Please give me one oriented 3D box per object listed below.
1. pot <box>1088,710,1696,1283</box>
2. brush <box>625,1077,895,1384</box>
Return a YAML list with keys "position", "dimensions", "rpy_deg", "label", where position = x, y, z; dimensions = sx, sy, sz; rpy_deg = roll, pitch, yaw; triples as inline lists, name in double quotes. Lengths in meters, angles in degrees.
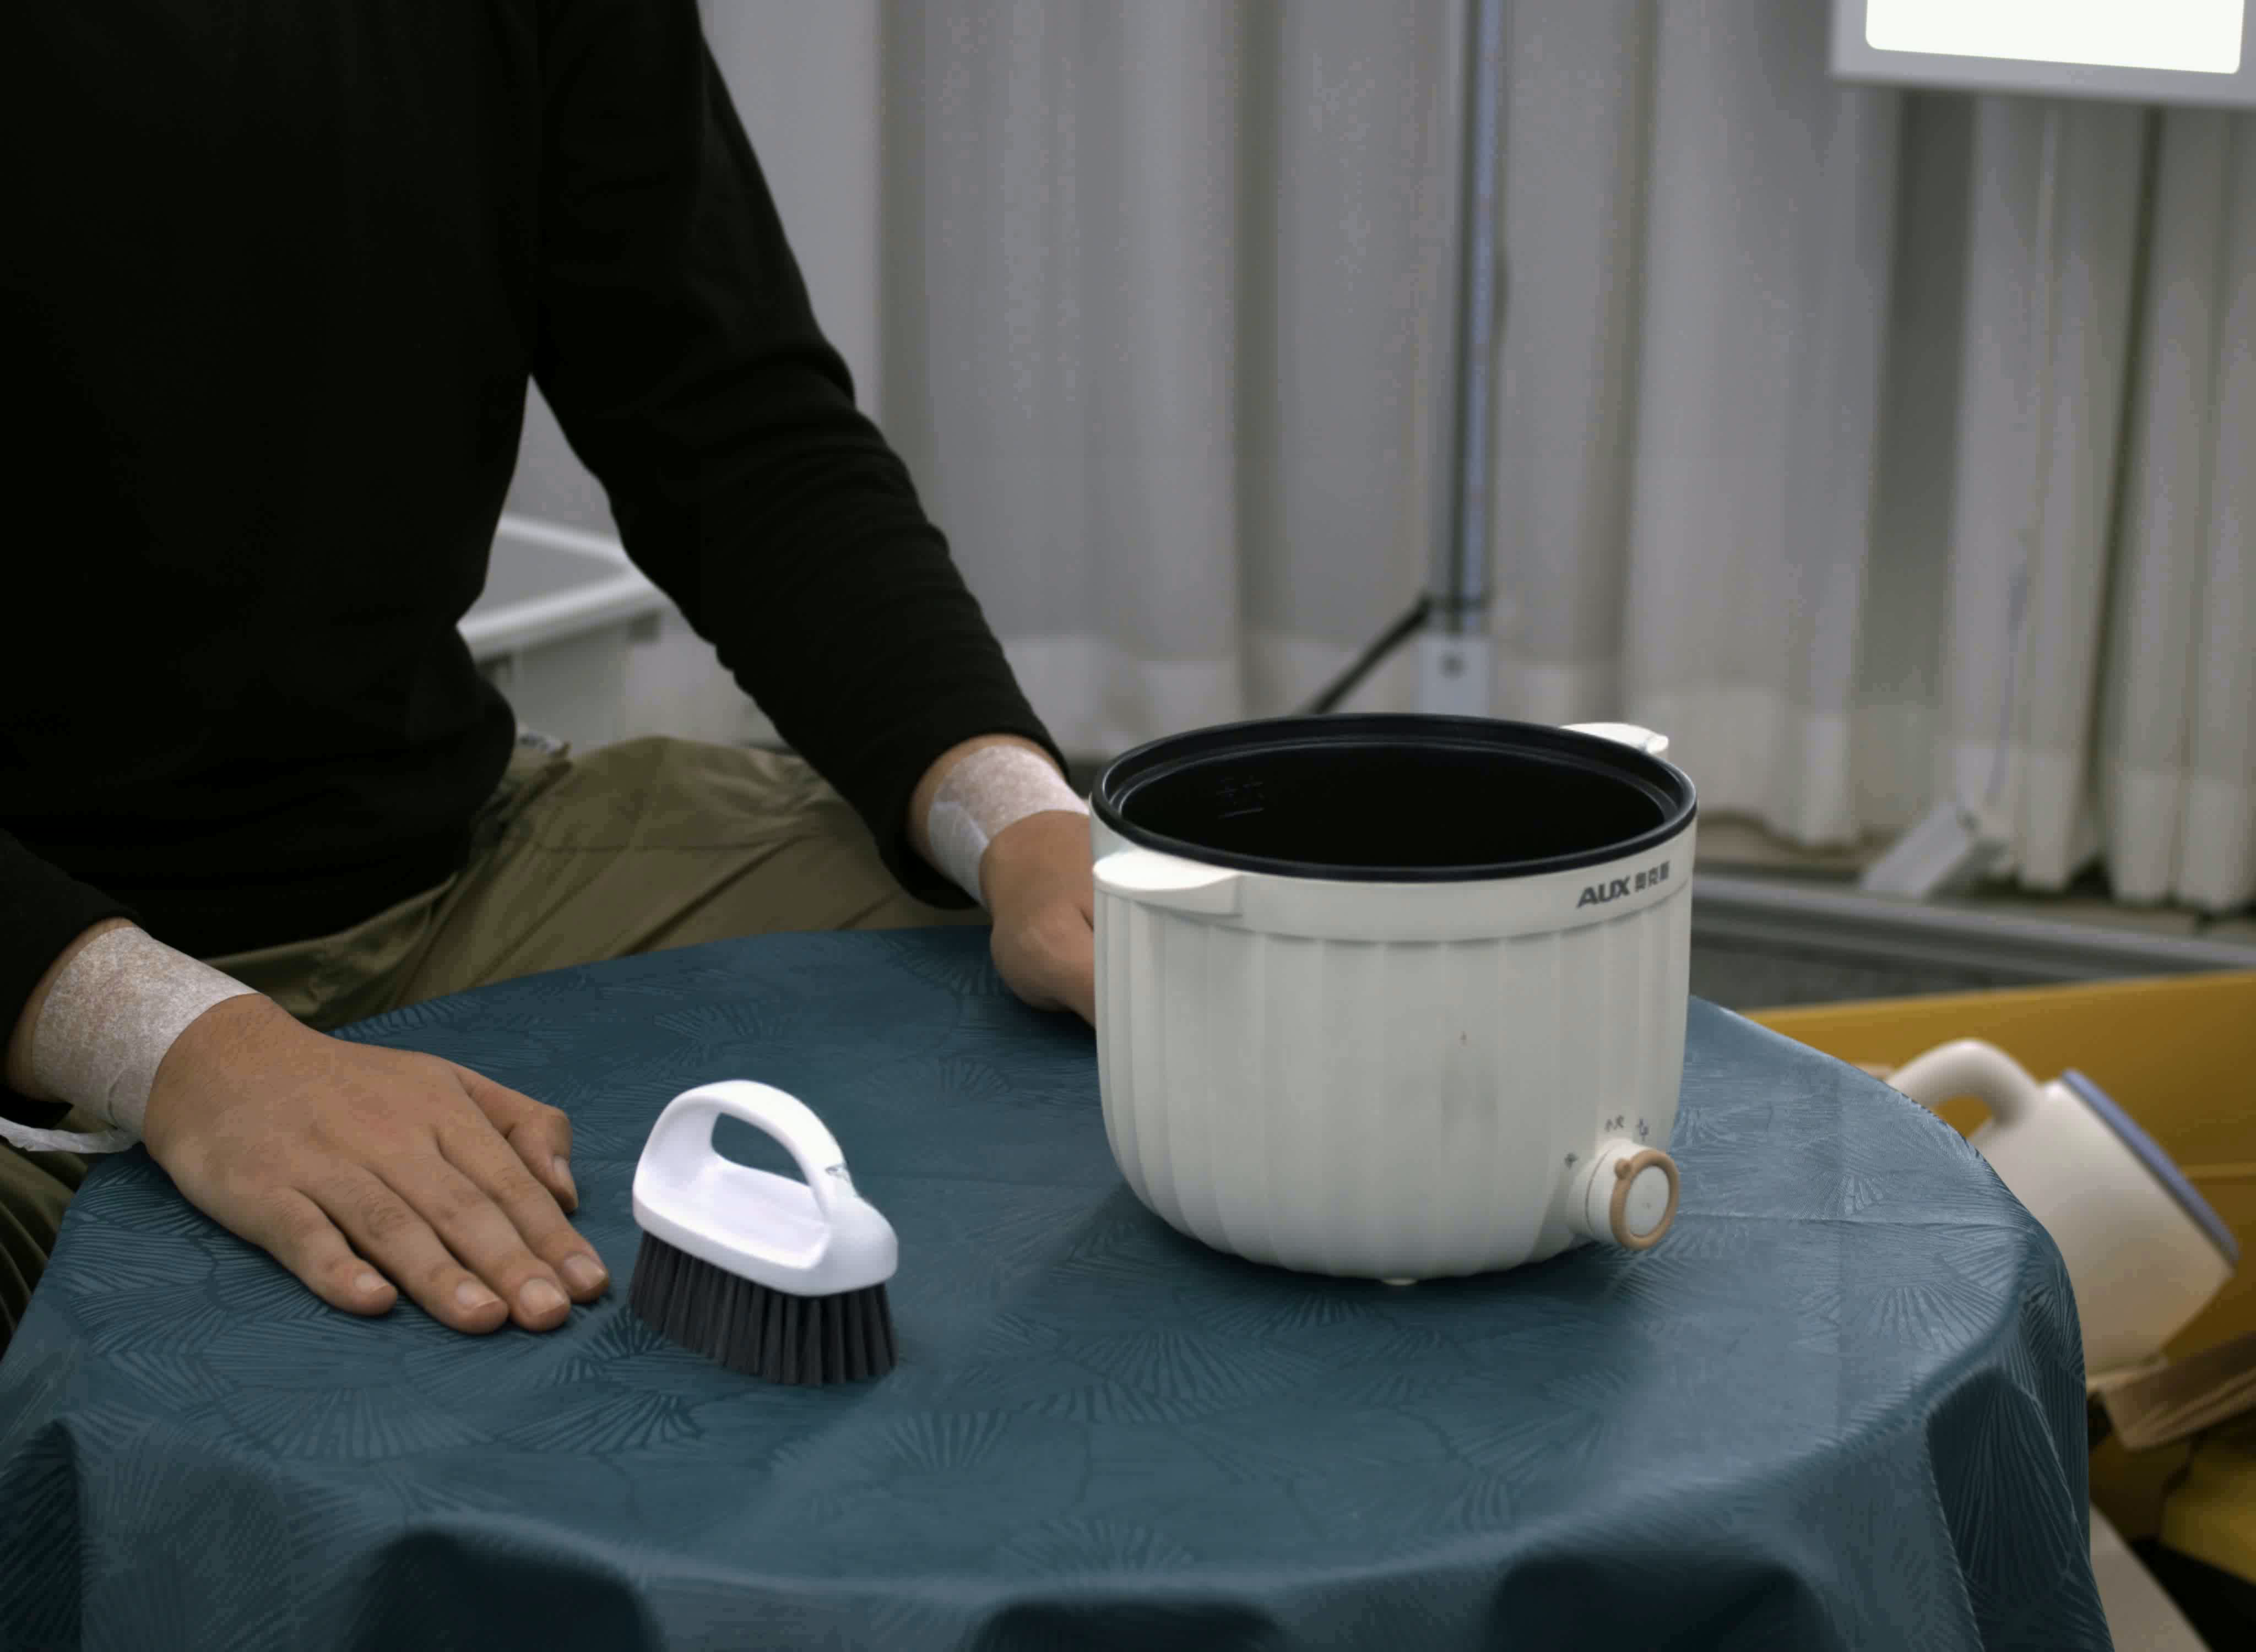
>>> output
- position: [0.083, 0.052, 1.580]
  dimensions: [0.188, 0.144, 0.241]
  rpy_deg: [11, 20, 41]
  label: "pot"
- position: [-0.105, 0.109, 1.491]
  dimensions: [0.050, 0.073, 0.098]
  rpy_deg: [-12, 20, -38]
  label: "brush"
